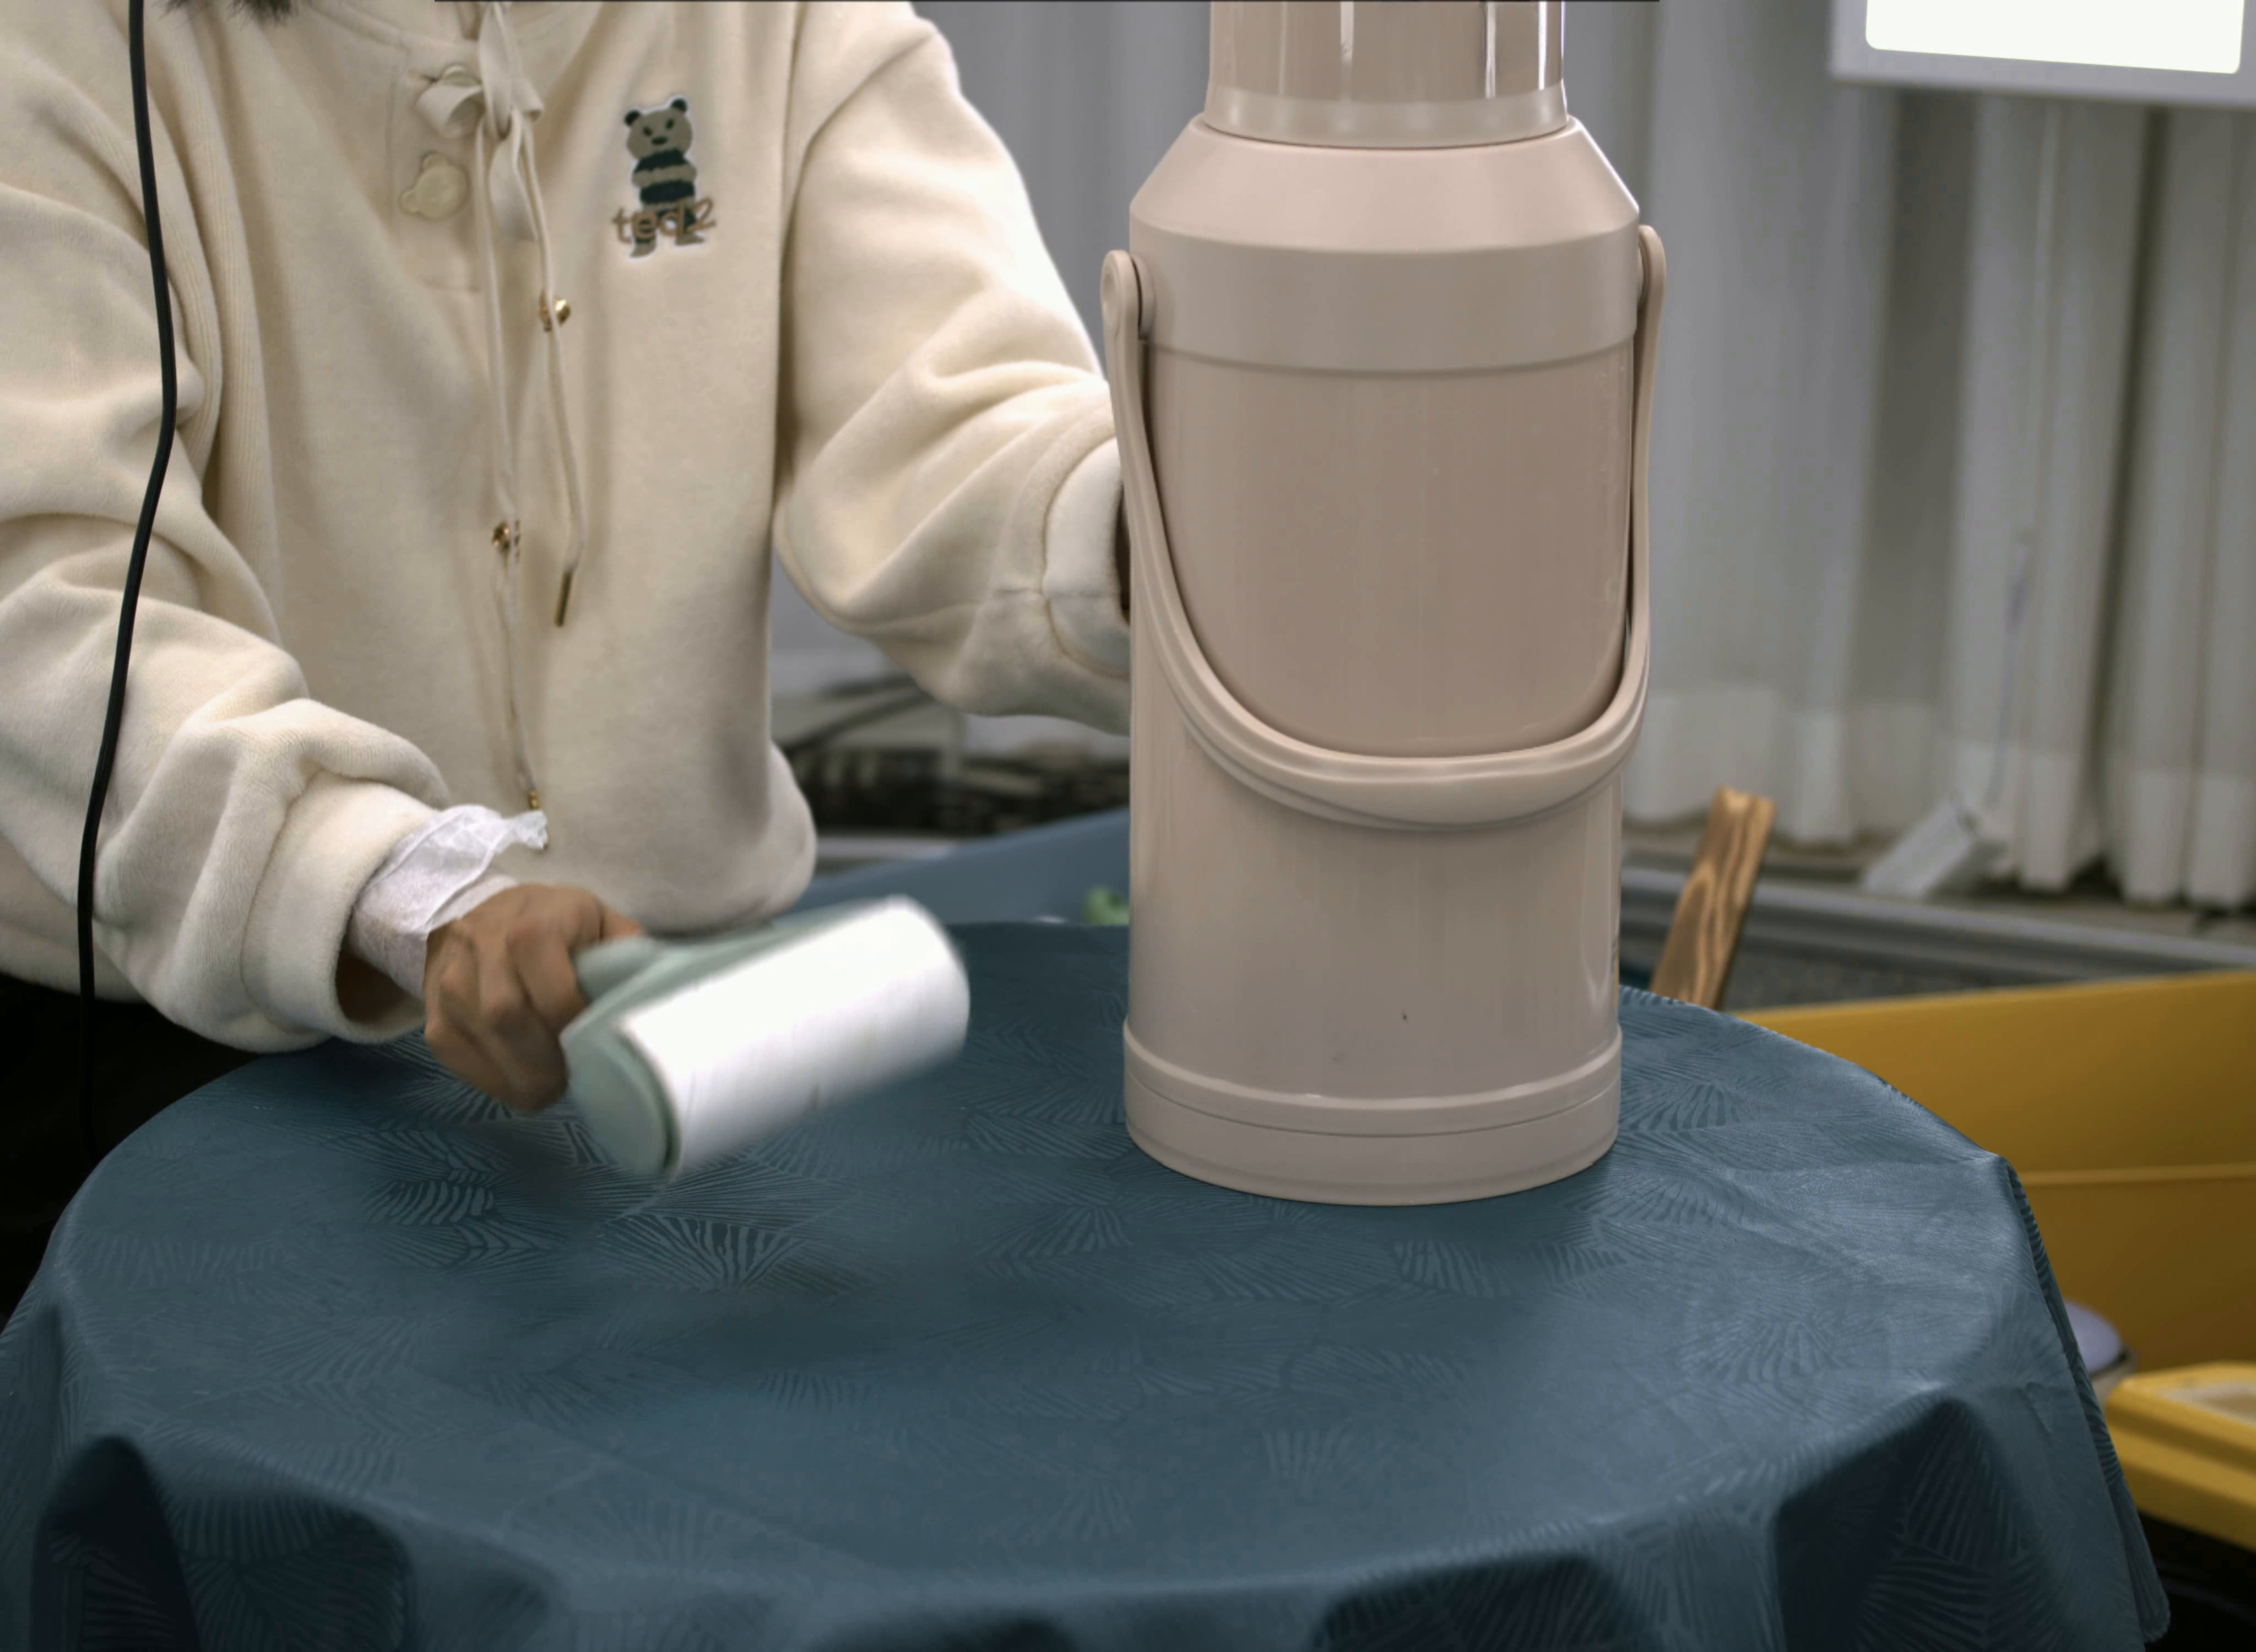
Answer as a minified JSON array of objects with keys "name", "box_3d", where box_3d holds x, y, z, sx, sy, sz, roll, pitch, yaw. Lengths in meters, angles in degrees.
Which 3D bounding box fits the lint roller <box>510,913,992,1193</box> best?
[{"name":"lint roller","box_3d":[-0.133,0.059,1.568,0.117,0.049,0.195,-25,18,-30]}]

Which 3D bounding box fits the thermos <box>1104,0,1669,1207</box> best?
[{"name":"thermos","box_3d":[0.076,-0.099,1.641,0.175,0.410,0.205,-5,17,-15]}]
